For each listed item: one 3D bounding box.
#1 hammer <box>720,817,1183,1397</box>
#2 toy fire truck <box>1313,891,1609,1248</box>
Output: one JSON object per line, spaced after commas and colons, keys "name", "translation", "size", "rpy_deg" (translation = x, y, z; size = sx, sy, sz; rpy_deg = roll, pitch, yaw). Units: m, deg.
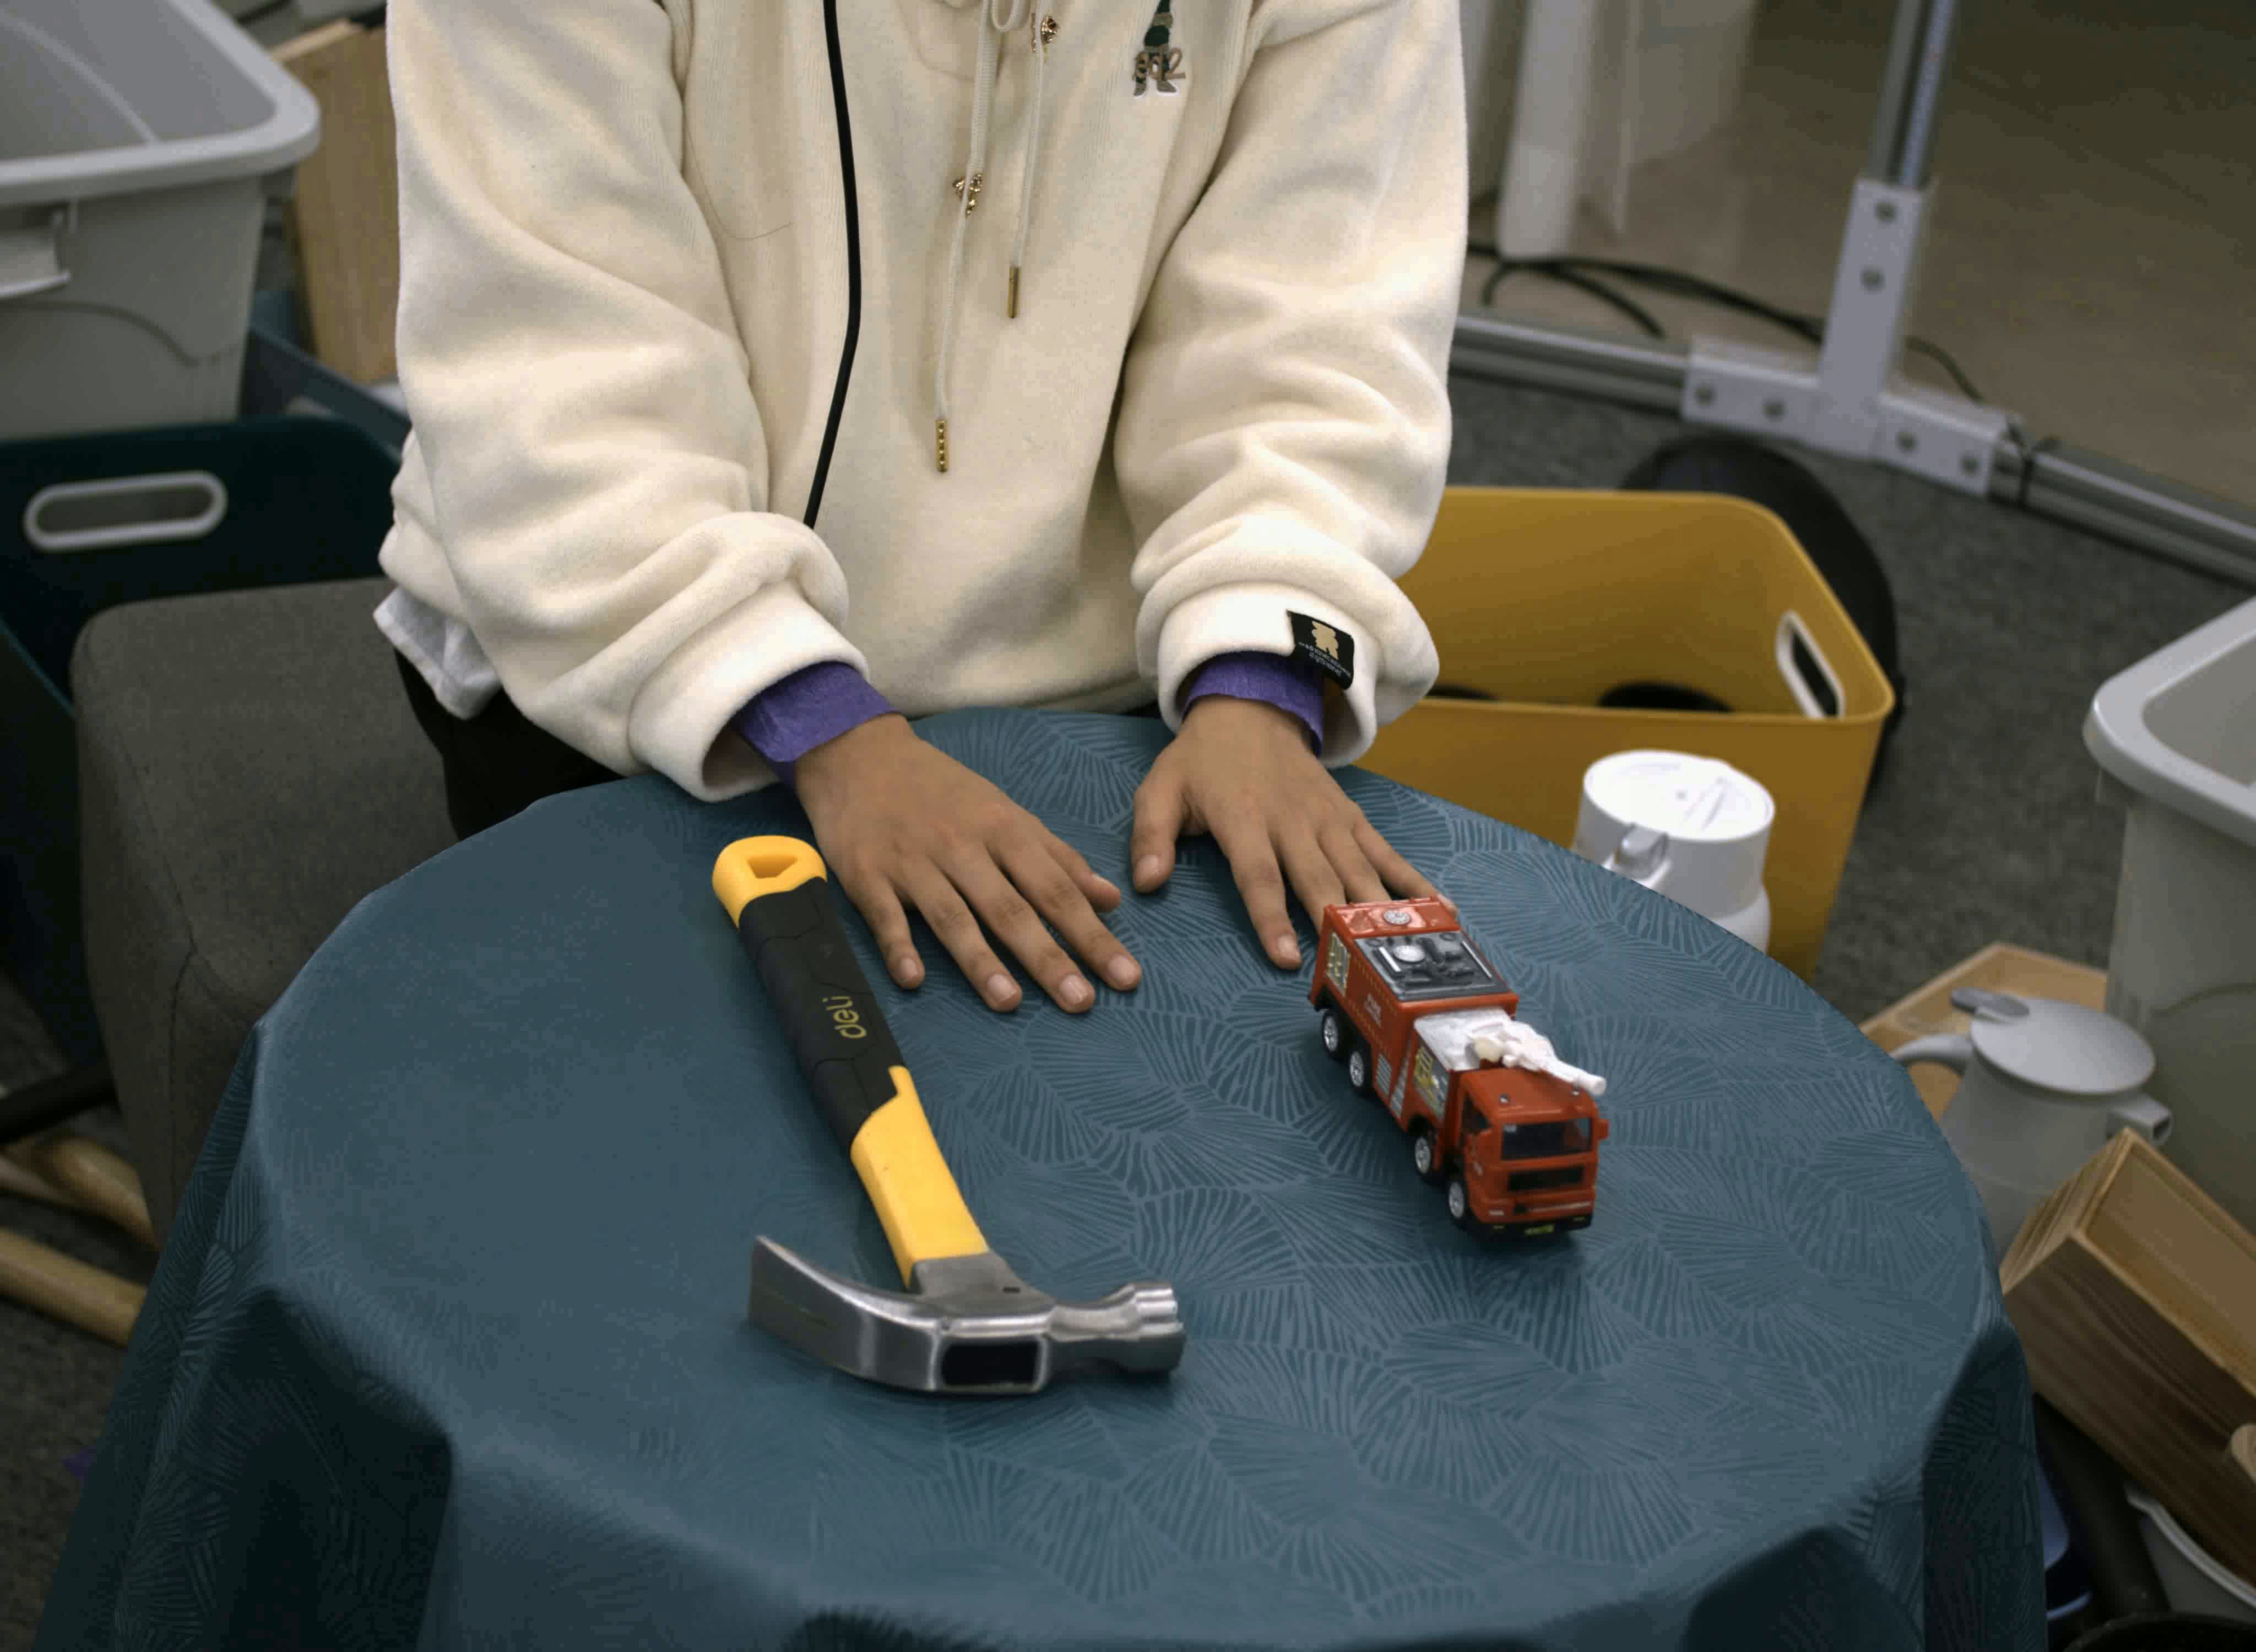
{"name": "hammer", "translation": [-0.088, 0.087, 1.811], "size": [0.130, 0.032, 0.341], "rpy_deg": [-3, 29, -15]}
{"name": "toy fire truck", "translation": [0.114, 0.083, 1.843], "size": [0.053, 0.070, 0.169], "rpy_deg": [-4, 28, -20]}
